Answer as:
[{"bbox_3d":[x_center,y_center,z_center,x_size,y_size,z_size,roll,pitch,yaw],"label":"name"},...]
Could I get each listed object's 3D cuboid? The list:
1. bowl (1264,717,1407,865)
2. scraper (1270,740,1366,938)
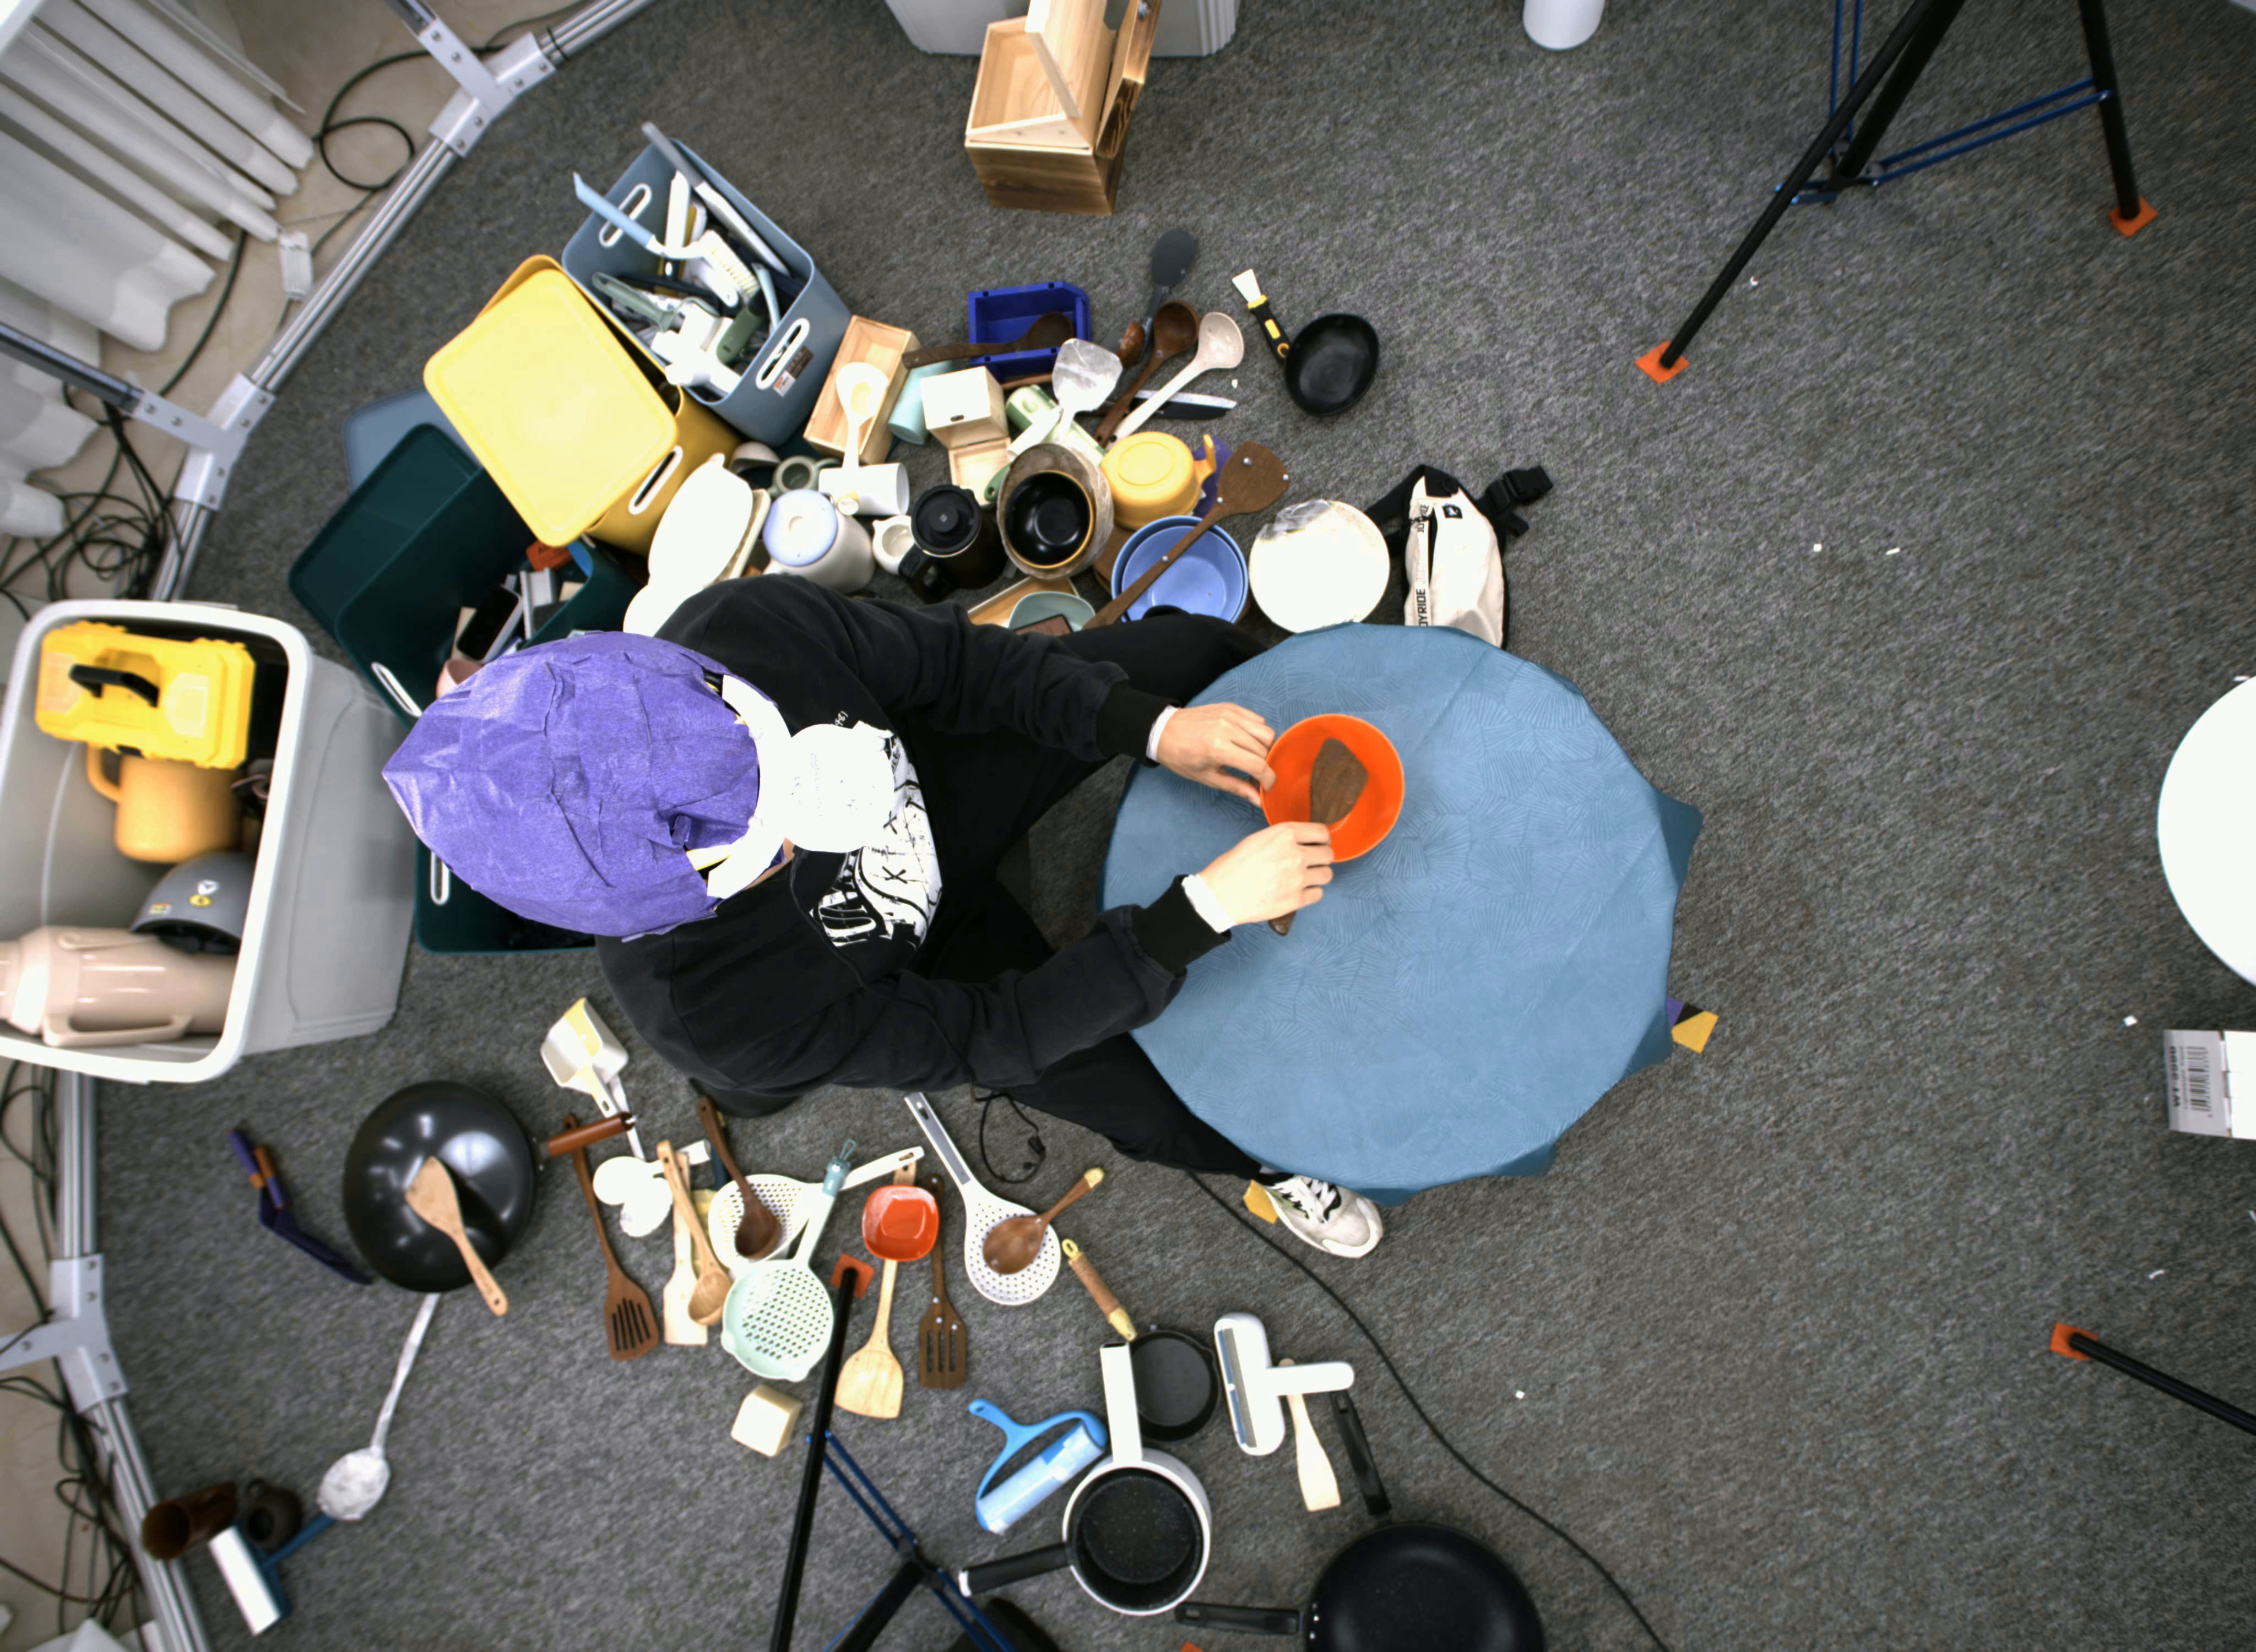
[{"bbox_3d":[0.207,-0.034,1.426,0.148,0.105,0.147,0,88,-2],"label":"bowl"},{"bbox_3d":[0.180,0.014,1.346,0.011,0.076,0.207,-3,54,48],"label":"scraper"}]
